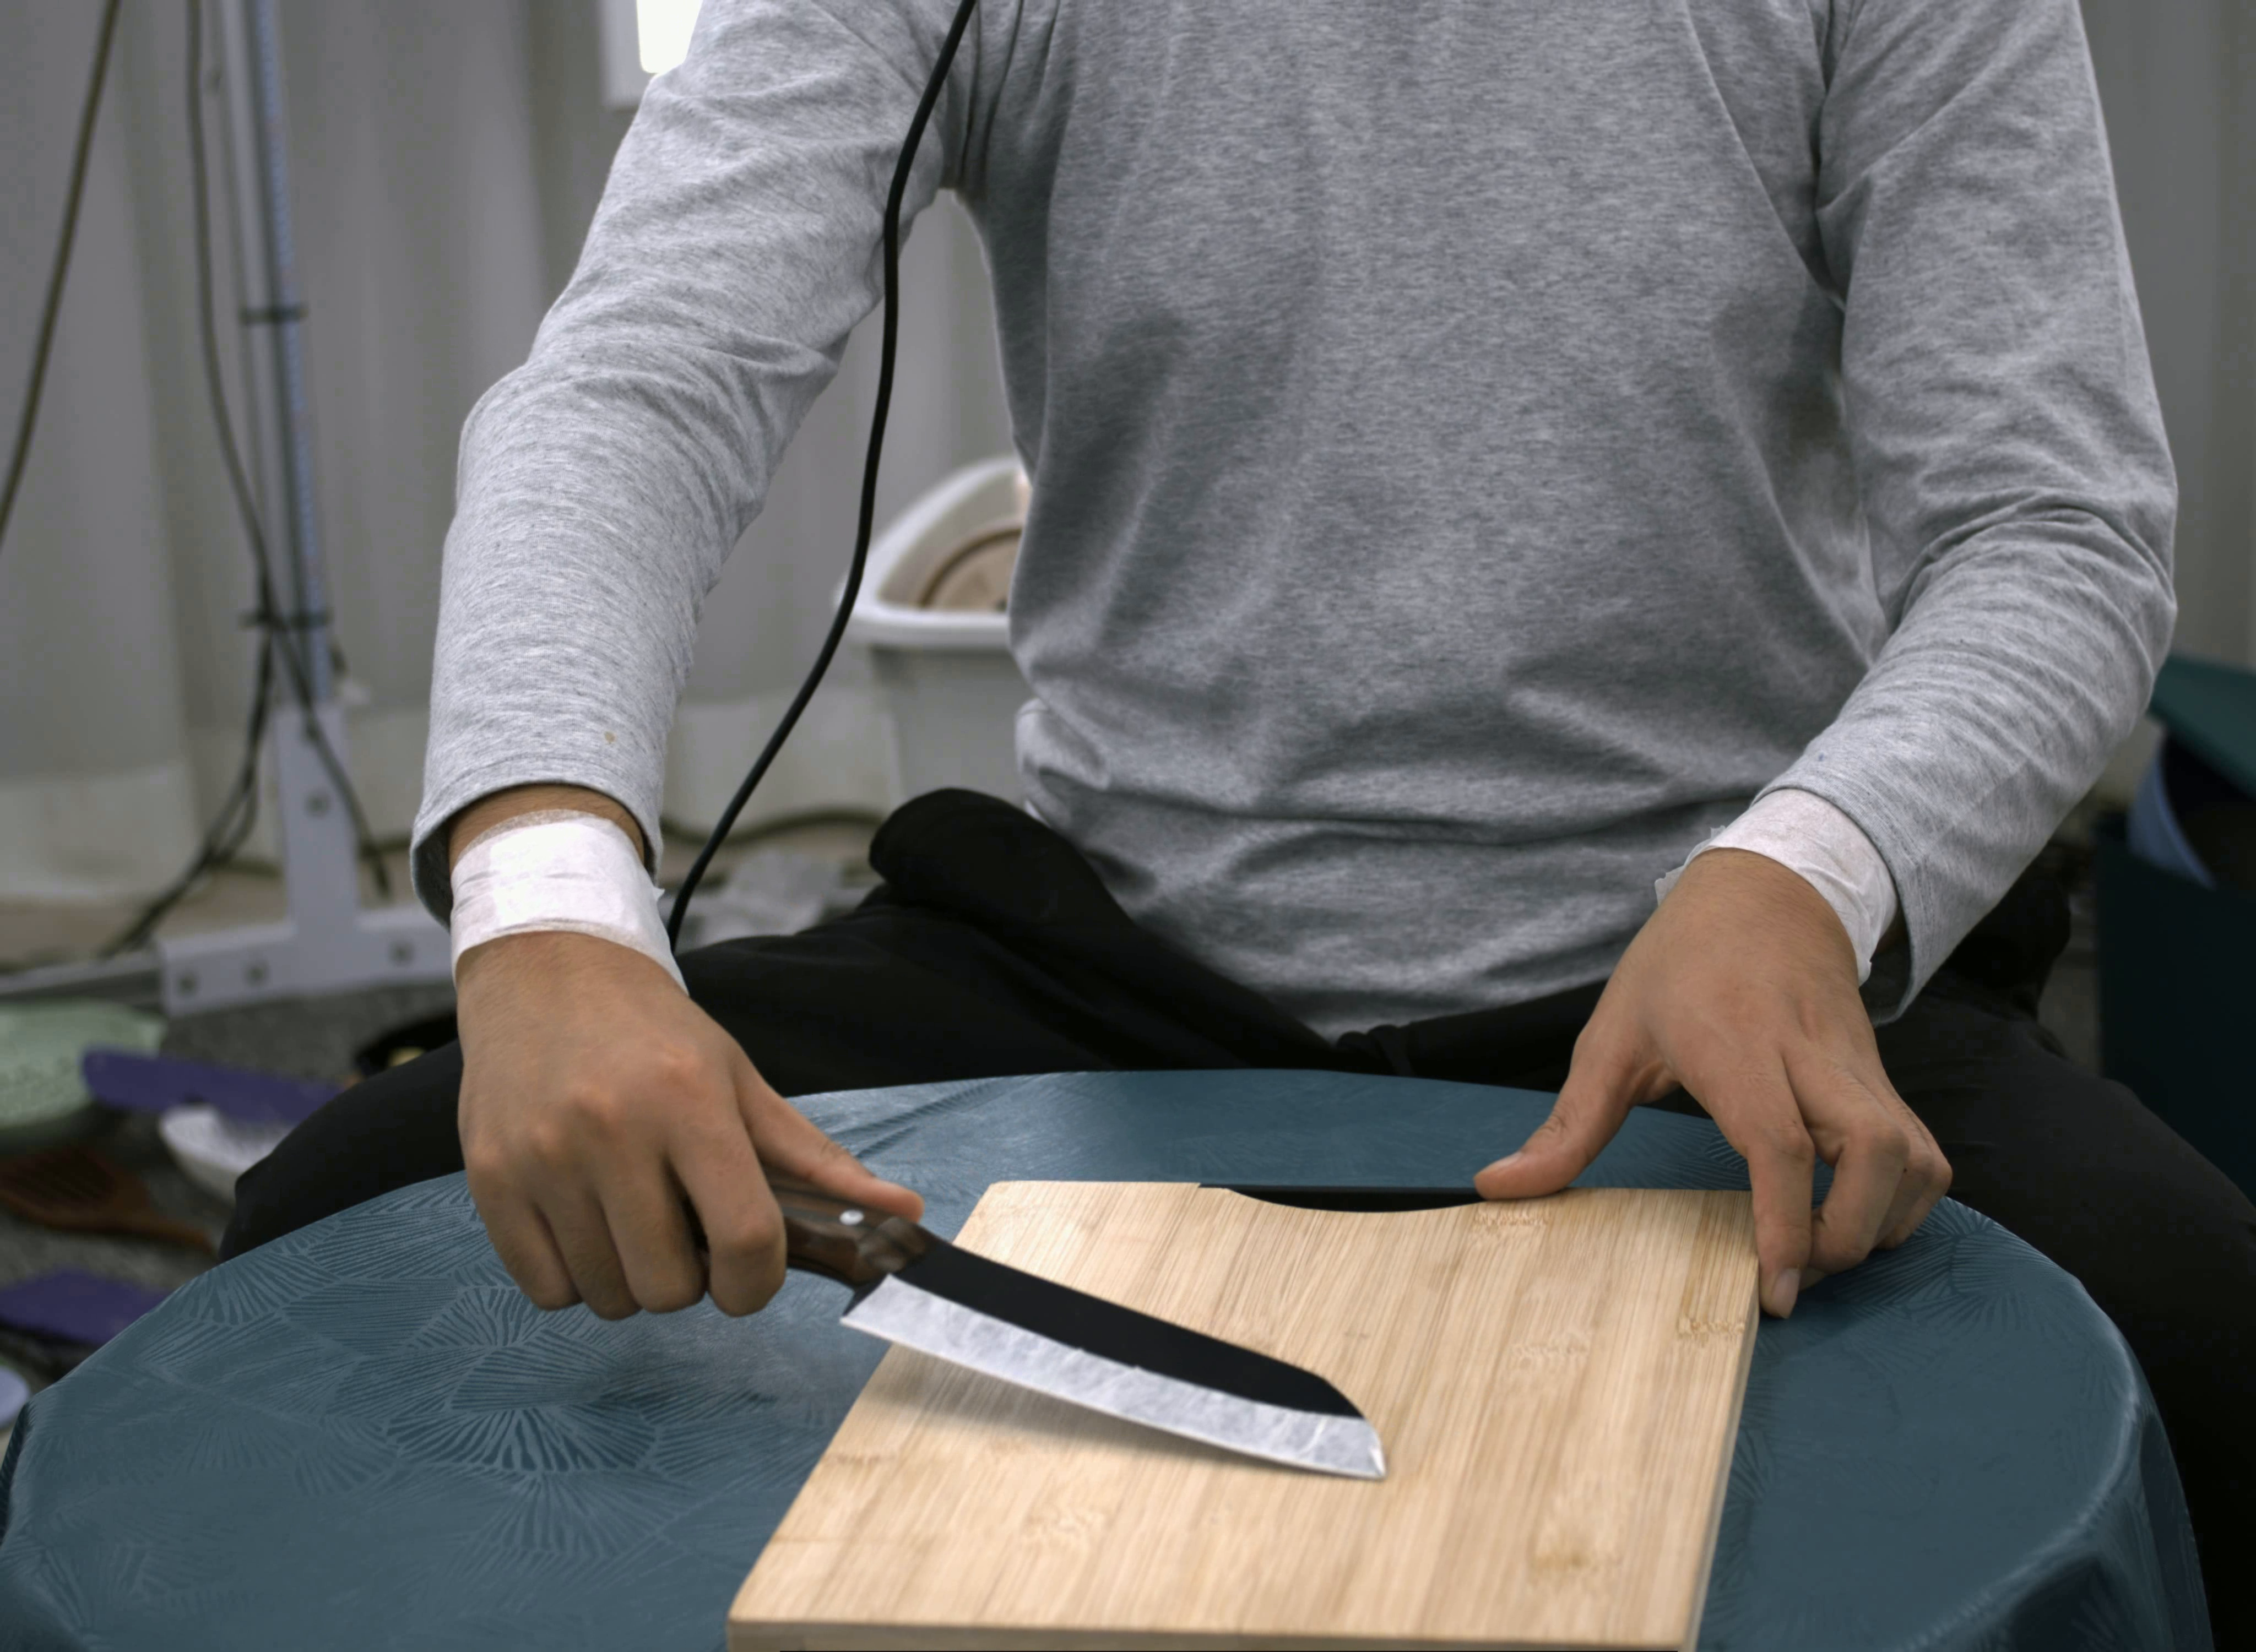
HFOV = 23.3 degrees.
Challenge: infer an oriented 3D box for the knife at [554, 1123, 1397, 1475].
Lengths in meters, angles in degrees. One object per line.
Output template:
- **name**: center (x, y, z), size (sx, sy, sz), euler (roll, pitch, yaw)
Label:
- **knife**: center (-0.047, 0.131, 1.505), size (0.291, 0.020, 0.050), euler (17, 38, 32)

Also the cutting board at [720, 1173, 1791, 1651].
- **cutting board**: center (0.048, 0.161, 1.503), size (0.250, 0.023, 0.350), euler (0, 15, 10)
